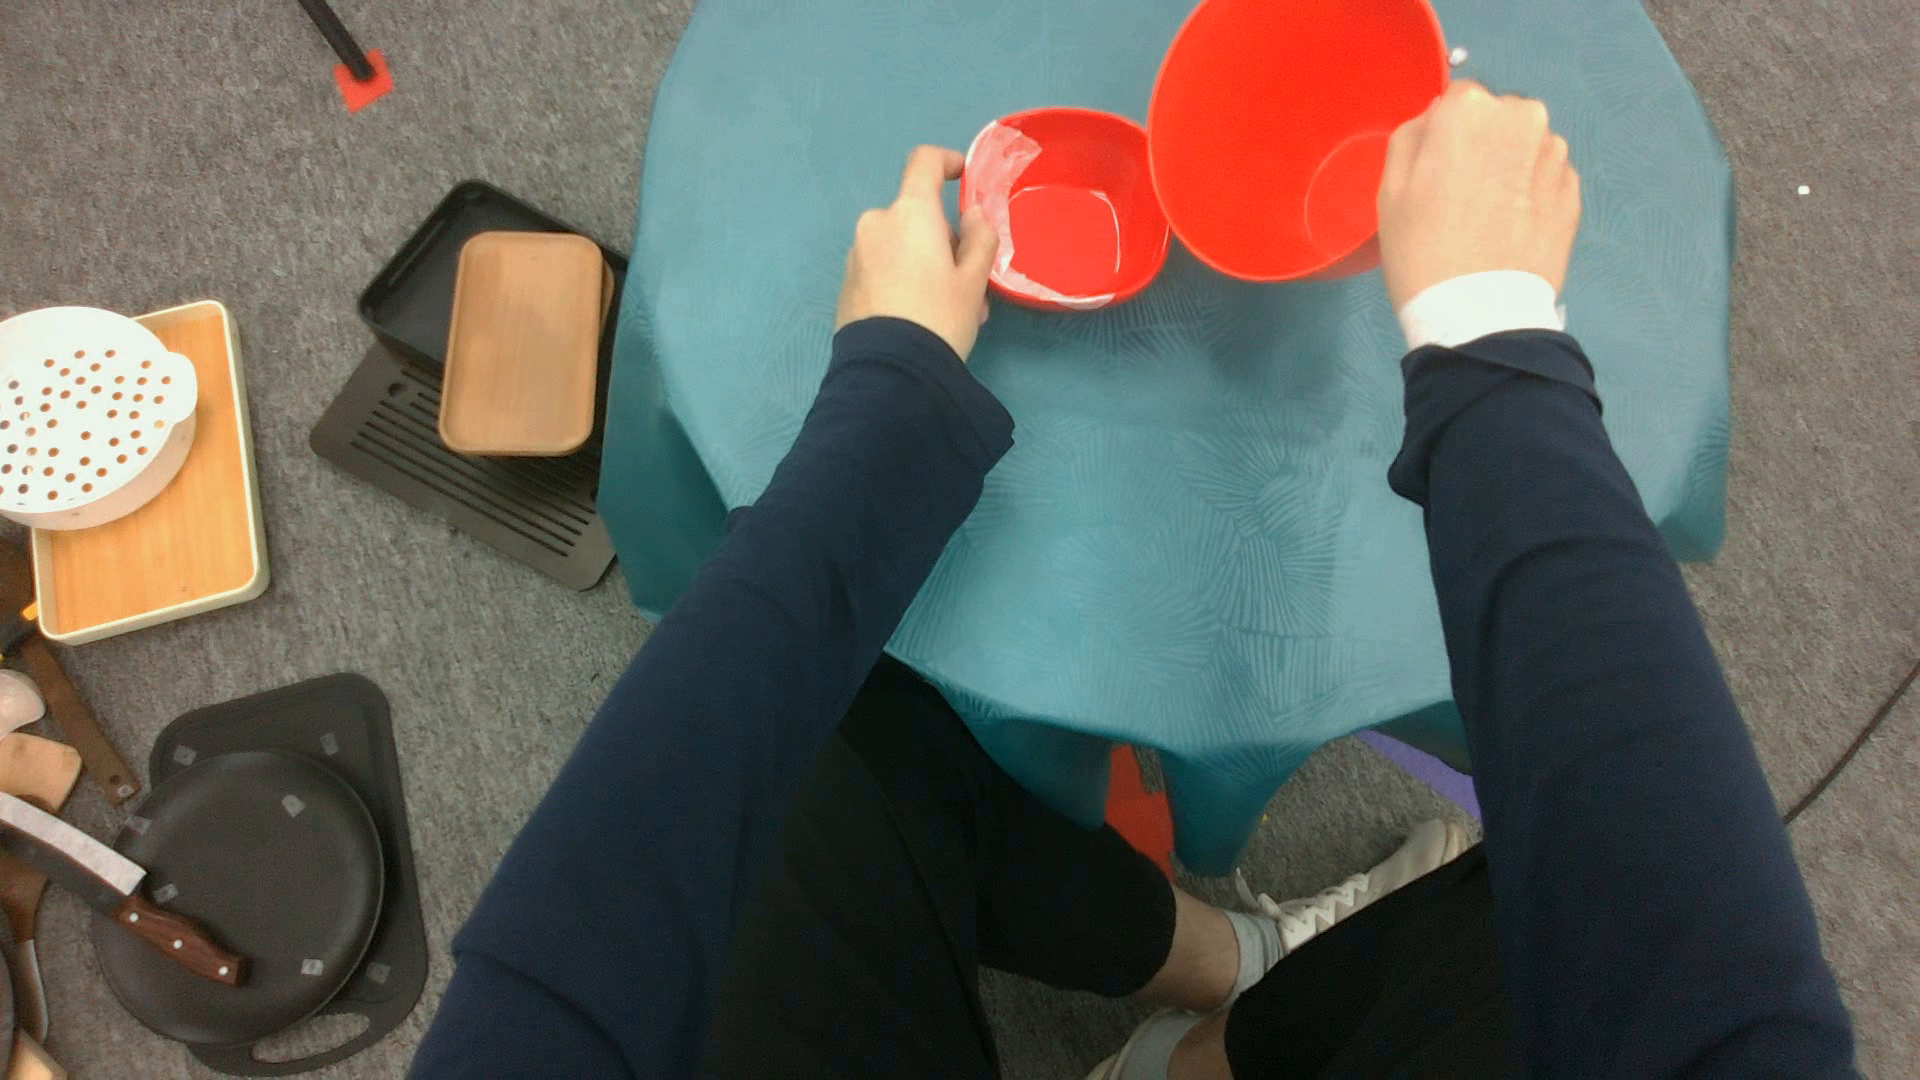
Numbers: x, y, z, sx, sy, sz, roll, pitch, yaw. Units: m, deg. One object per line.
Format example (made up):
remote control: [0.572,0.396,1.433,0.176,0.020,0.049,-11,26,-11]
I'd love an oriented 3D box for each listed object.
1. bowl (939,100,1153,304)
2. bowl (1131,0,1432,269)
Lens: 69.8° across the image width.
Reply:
bowl: [0.043,-0.170,0.728,0.119,0.051,0.119,1,76,-3]
bowl: [0.168,-0.198,0.669,0.147,0.105,0.148,-7,78,39]
